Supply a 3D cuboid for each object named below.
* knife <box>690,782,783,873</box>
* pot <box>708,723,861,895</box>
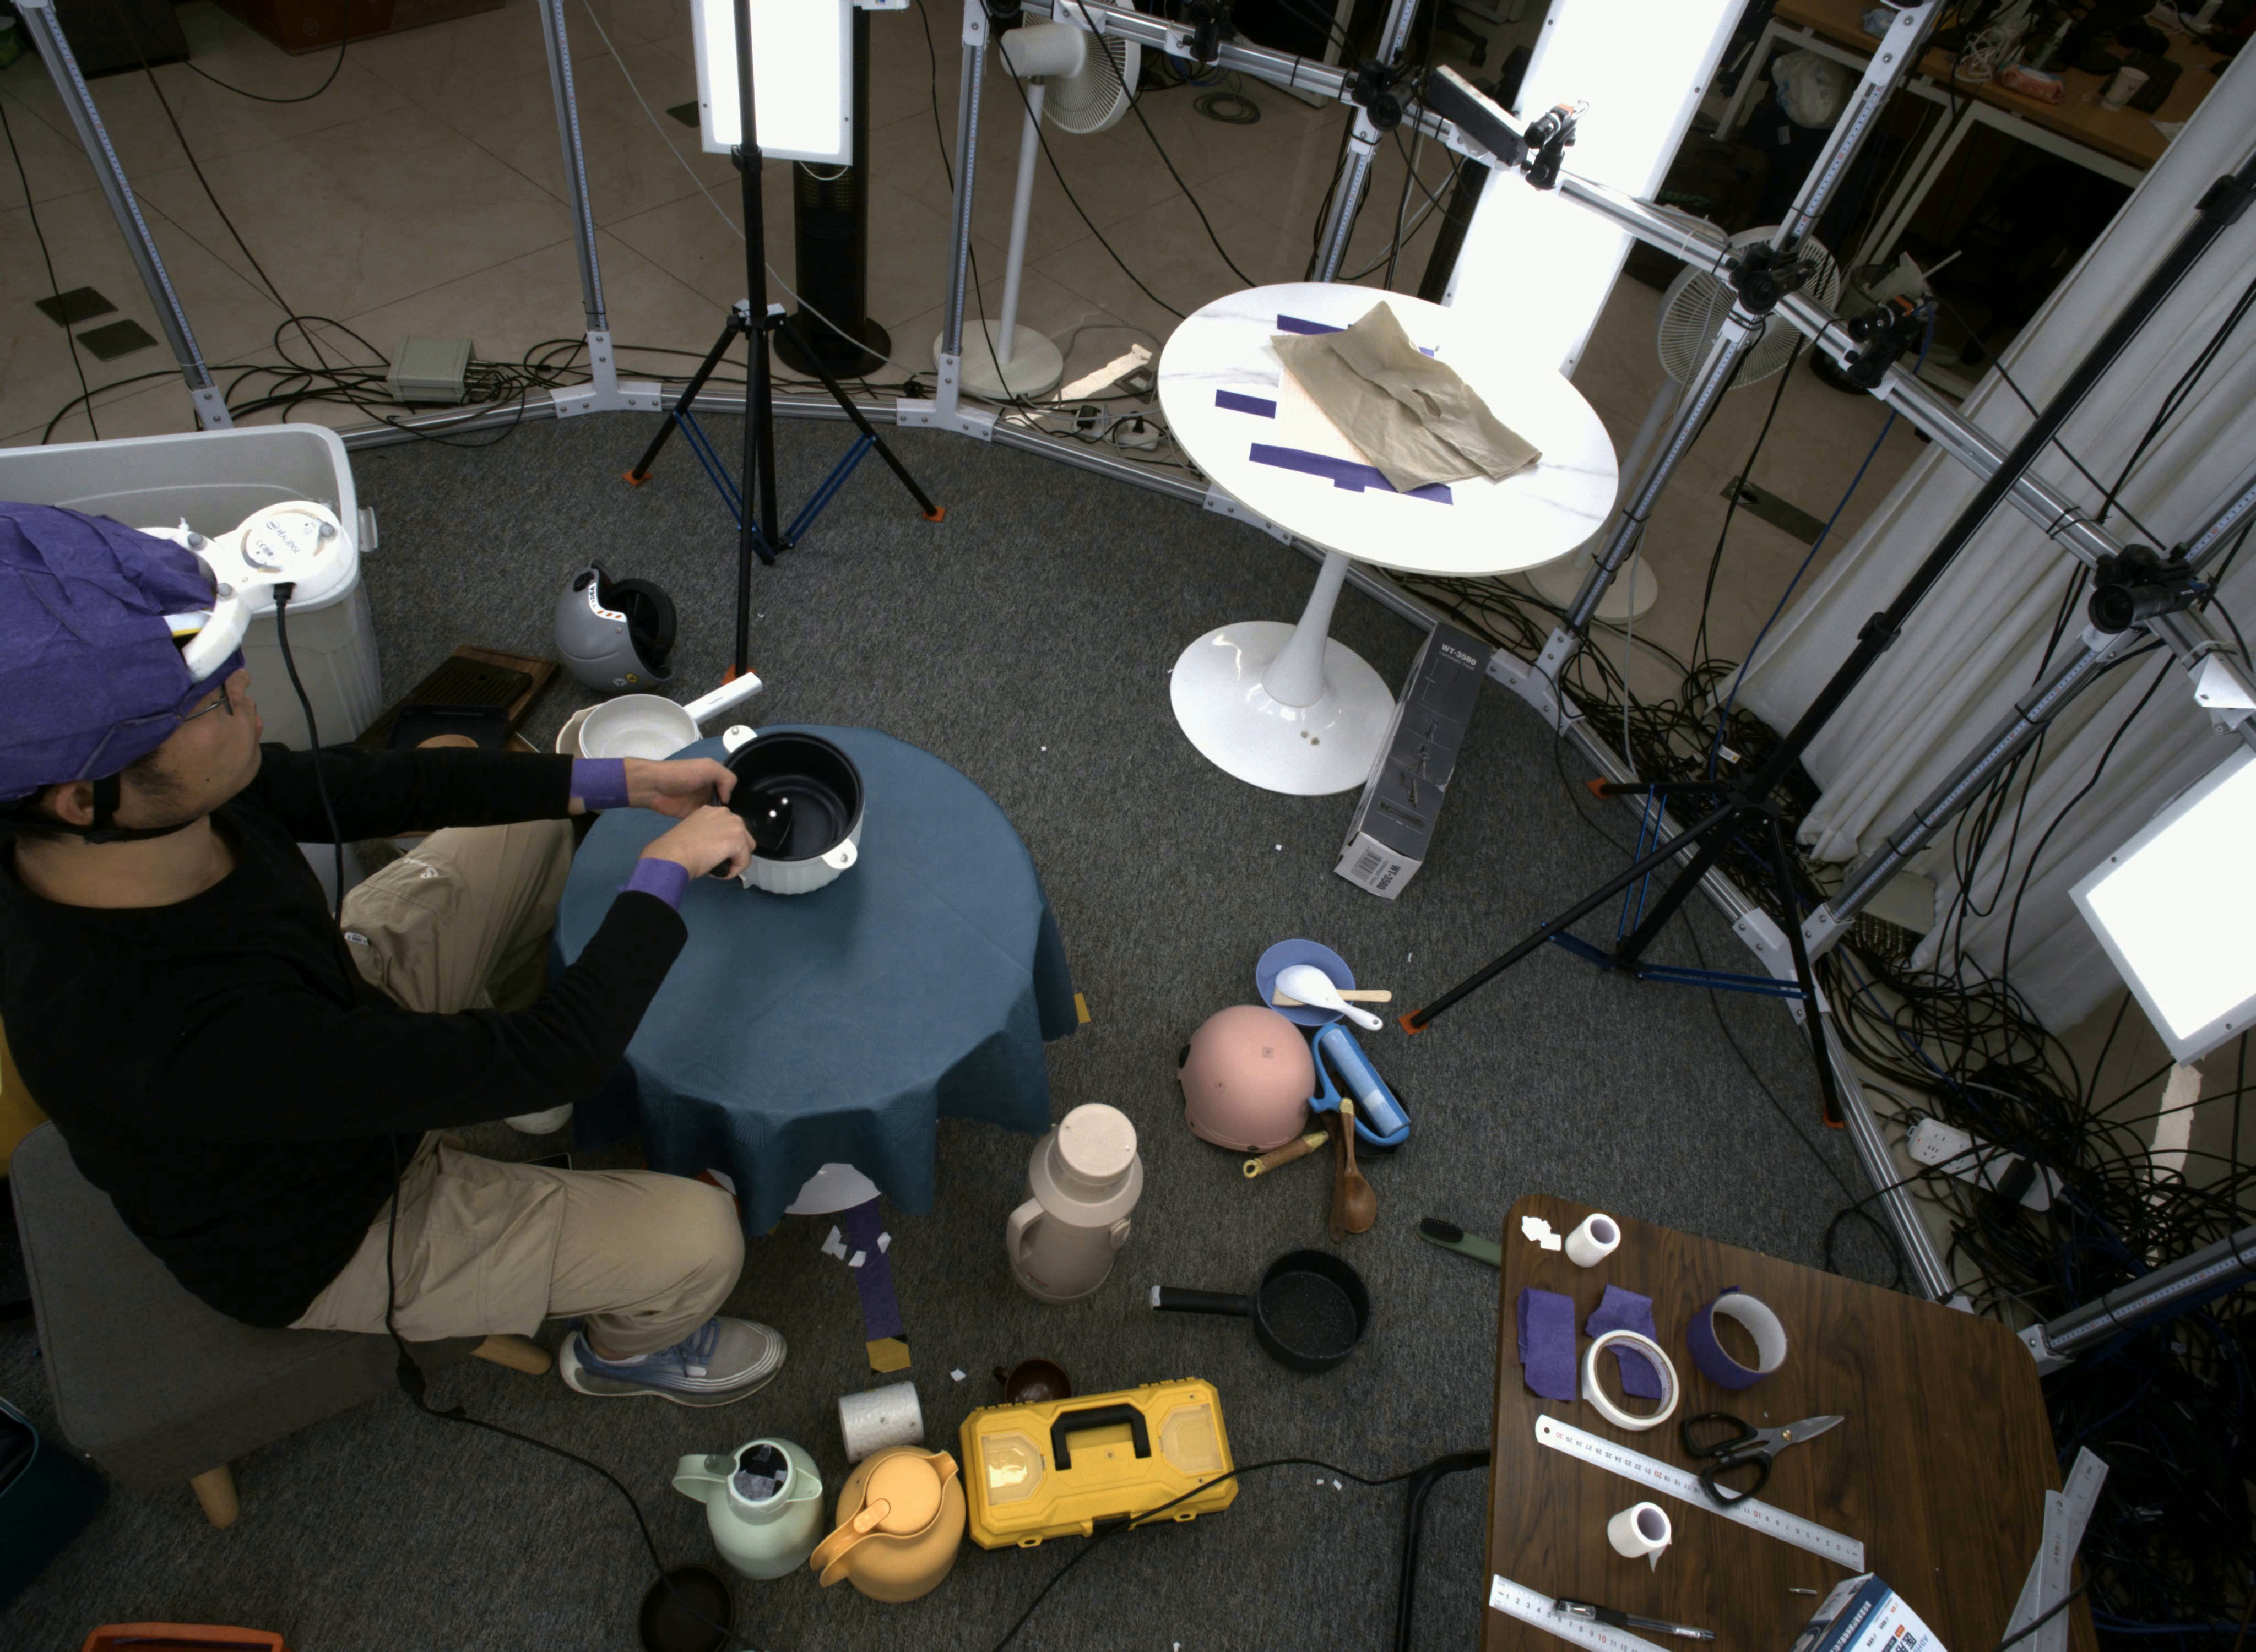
[{"bbox_3d":[-0.450,-0.002,1.493,0.081,0.021,0.297,25,13,-9],"label":"knife"},{"bbox_3d":[-0.423,-0.015,1.630,0.190,0.144,0.238,-40,80,-24],"label":"pot"}]
